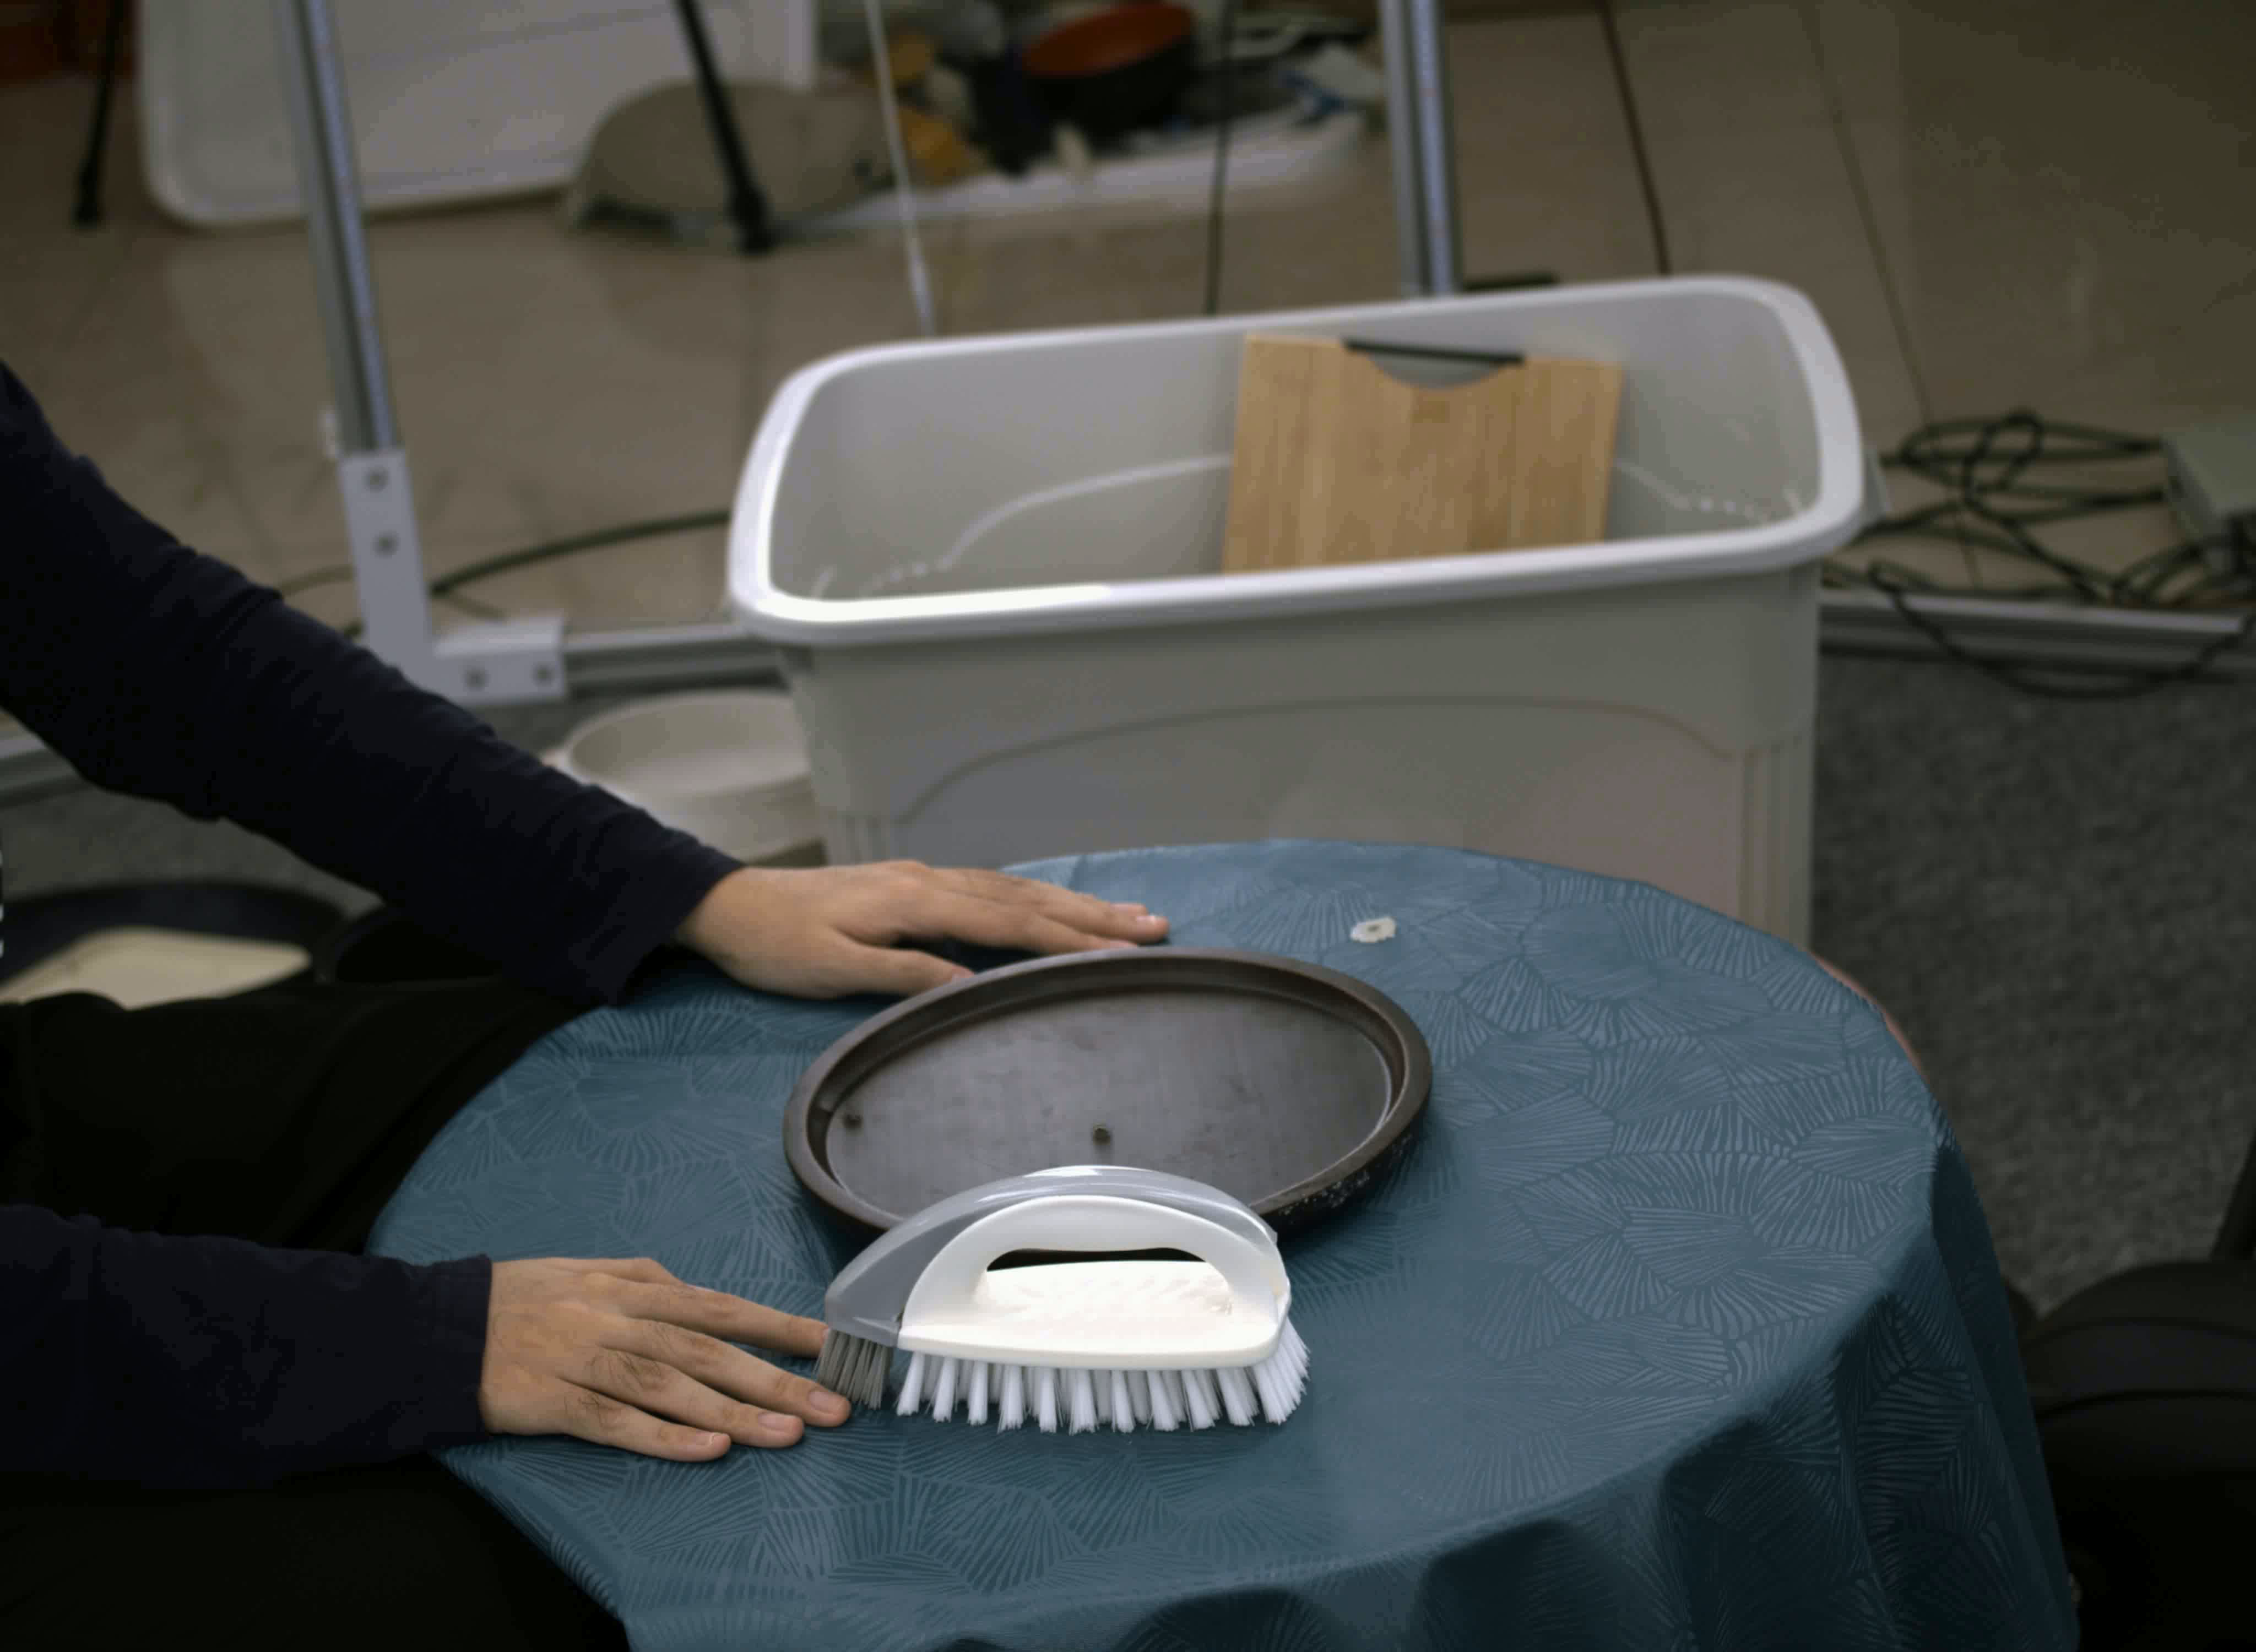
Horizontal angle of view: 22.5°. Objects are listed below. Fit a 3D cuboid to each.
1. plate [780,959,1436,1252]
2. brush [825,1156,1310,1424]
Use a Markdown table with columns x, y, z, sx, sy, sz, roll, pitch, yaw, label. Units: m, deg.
| x | y | z | sx | sy | sz | roll | pitch | yaw | label |
| --- | --- | --- | --- | --- | --- | --- | --- | --- | --- |
| -0.007 | 0.111 | 2.183 | 0.254 | 0.029 | 0.251 | -4 | 25 | 2 | plate |
| -0.028 | 0.162 | 1.994 | 0.175 | 0.095 | 0.060 | -3 | 25 | 13 | brush |
